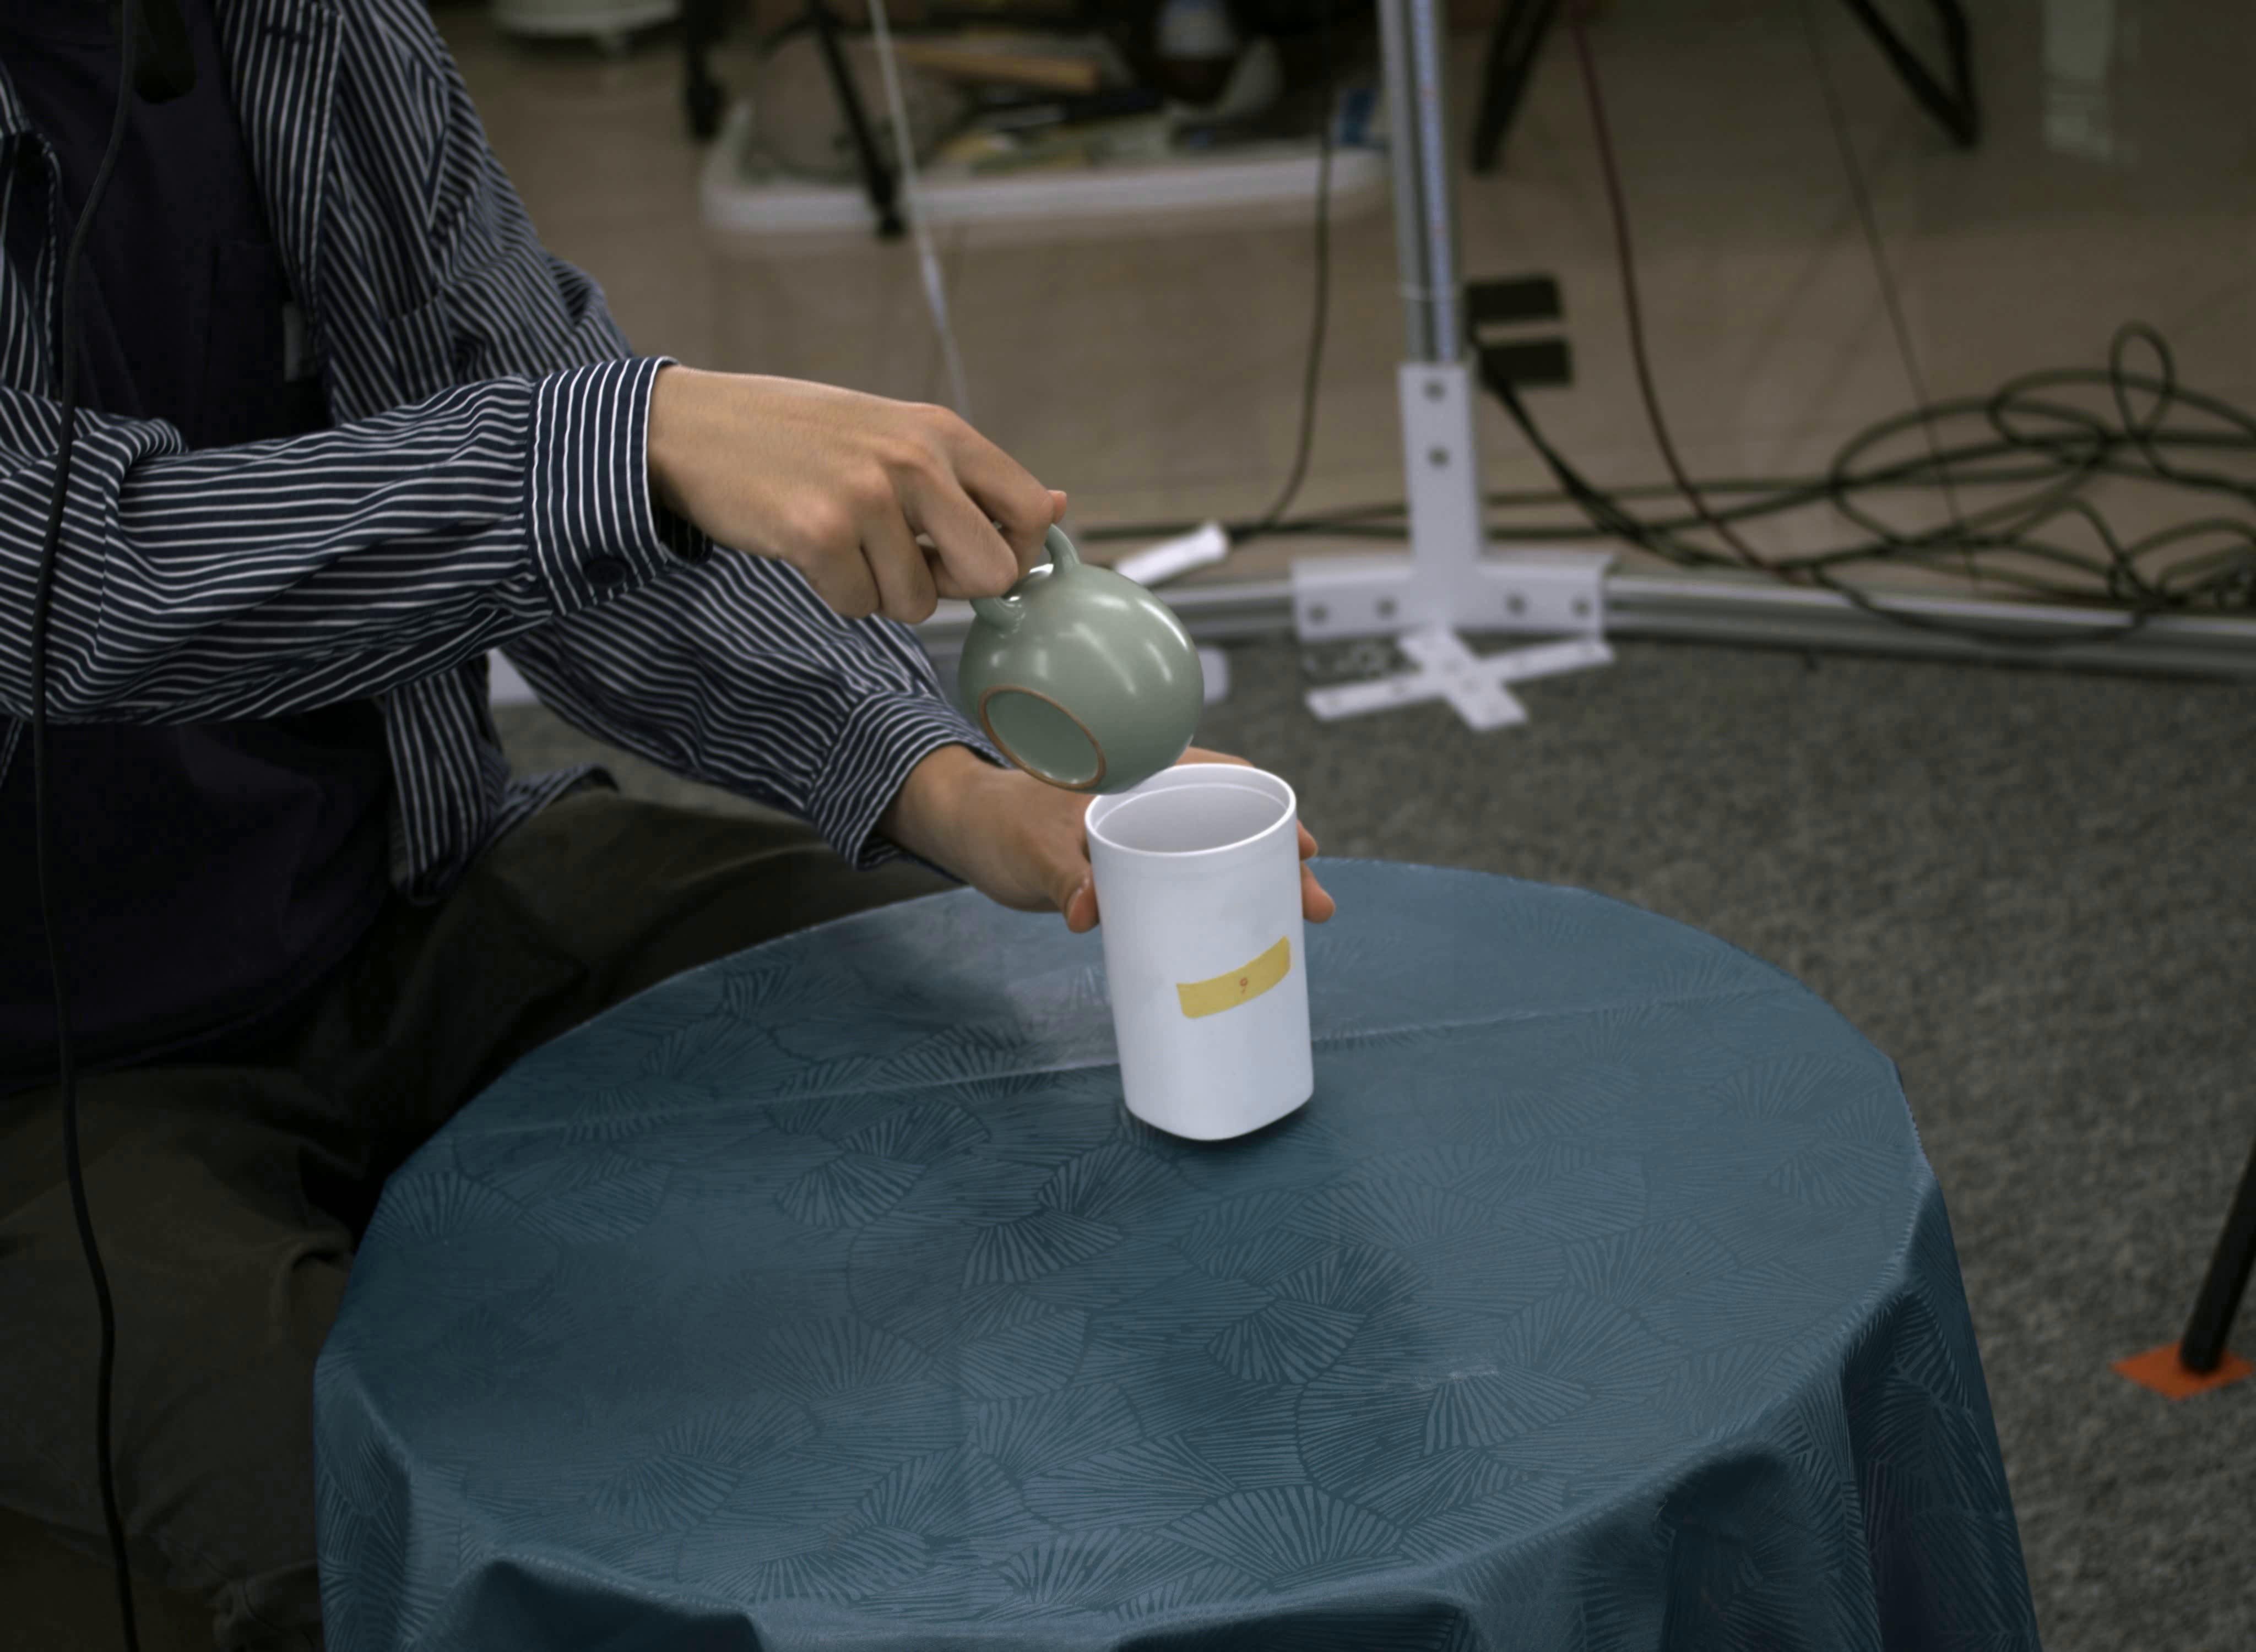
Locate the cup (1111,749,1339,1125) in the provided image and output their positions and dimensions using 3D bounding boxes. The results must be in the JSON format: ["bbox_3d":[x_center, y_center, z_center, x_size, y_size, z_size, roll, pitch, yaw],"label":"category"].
[{"bbox_3d":[0.040,0.043,2.174,0.081,0.127,0.080,-5,26,3],"label":"cup"}]

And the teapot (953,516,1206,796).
[{"bbox_3d":[-0.022,-0.059,2.058,0.091,0.130,0.060,-1,47,47],"label":"teapot"}]
